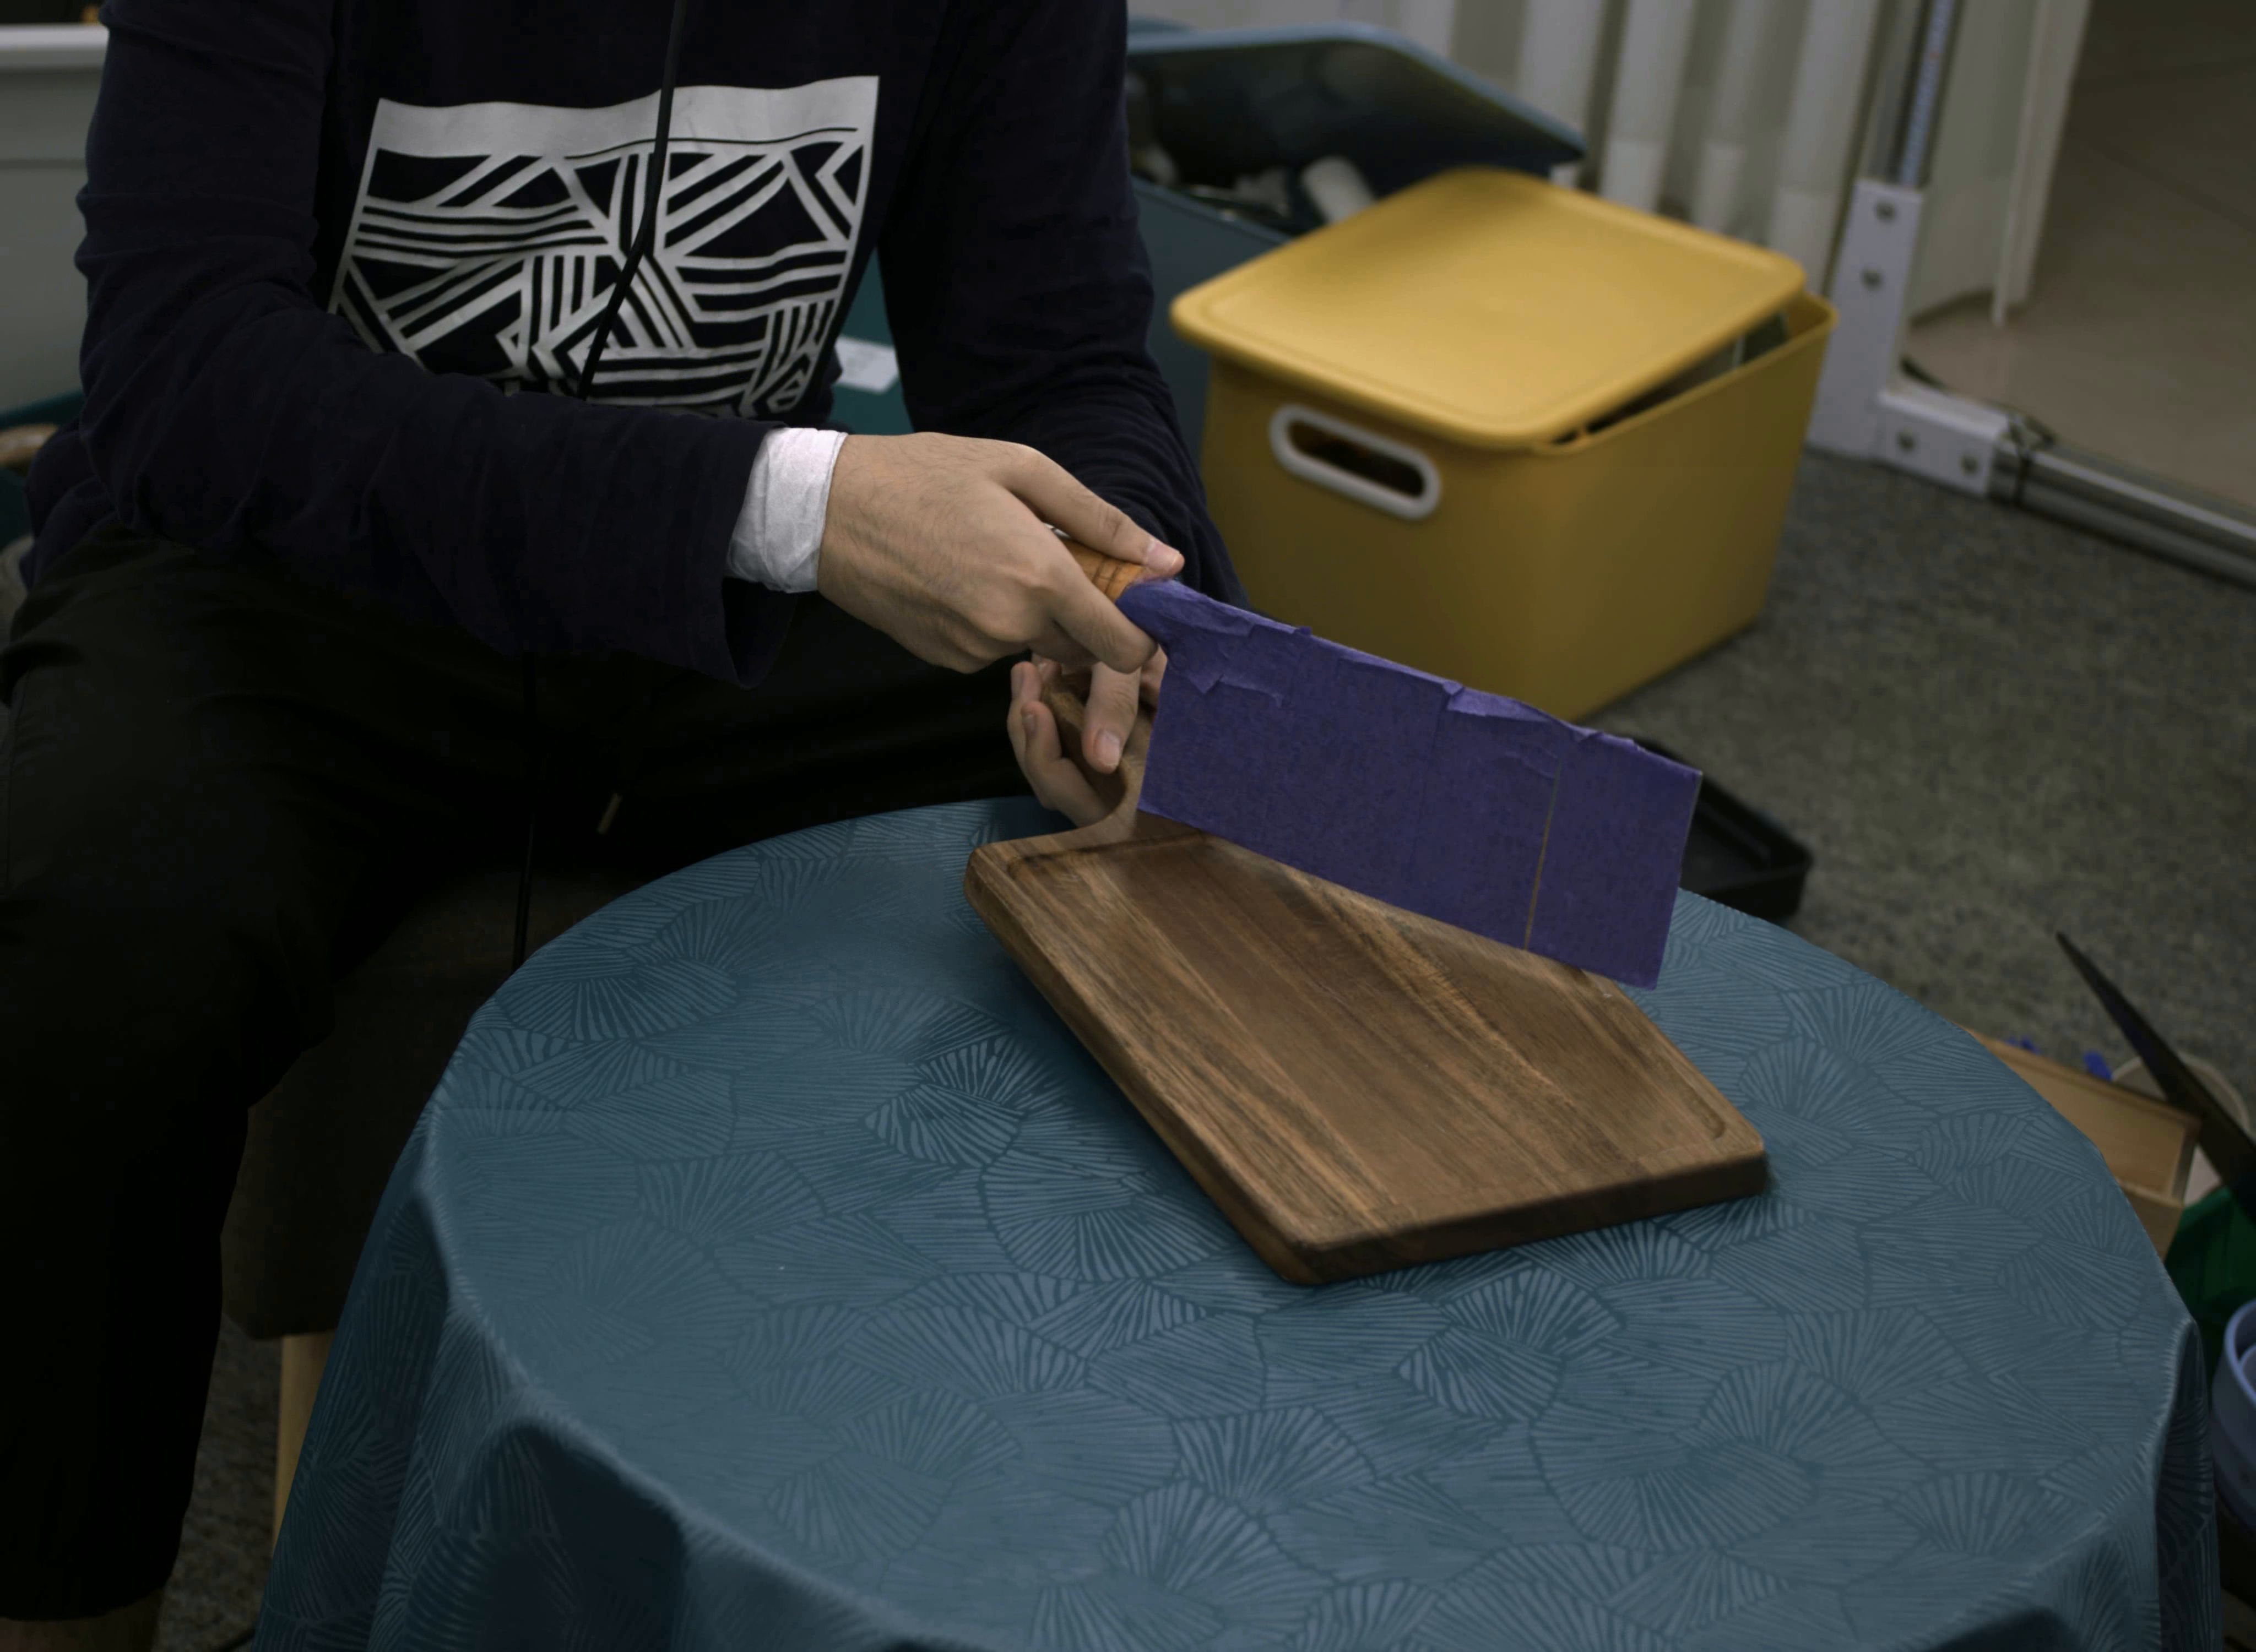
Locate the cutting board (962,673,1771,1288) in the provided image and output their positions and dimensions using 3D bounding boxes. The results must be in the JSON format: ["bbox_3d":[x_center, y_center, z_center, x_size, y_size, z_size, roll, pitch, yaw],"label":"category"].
[{"bbox_3d":[0.059,0.041,1.923,0.200,0.023,0.355,-9,36,-27],"label":"cutting board"}]

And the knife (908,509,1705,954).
[{"bbox_3d":[0.057,-0.031,1.929,0.316,0.103,0.032,19,24,23],"label":"knife"}]
